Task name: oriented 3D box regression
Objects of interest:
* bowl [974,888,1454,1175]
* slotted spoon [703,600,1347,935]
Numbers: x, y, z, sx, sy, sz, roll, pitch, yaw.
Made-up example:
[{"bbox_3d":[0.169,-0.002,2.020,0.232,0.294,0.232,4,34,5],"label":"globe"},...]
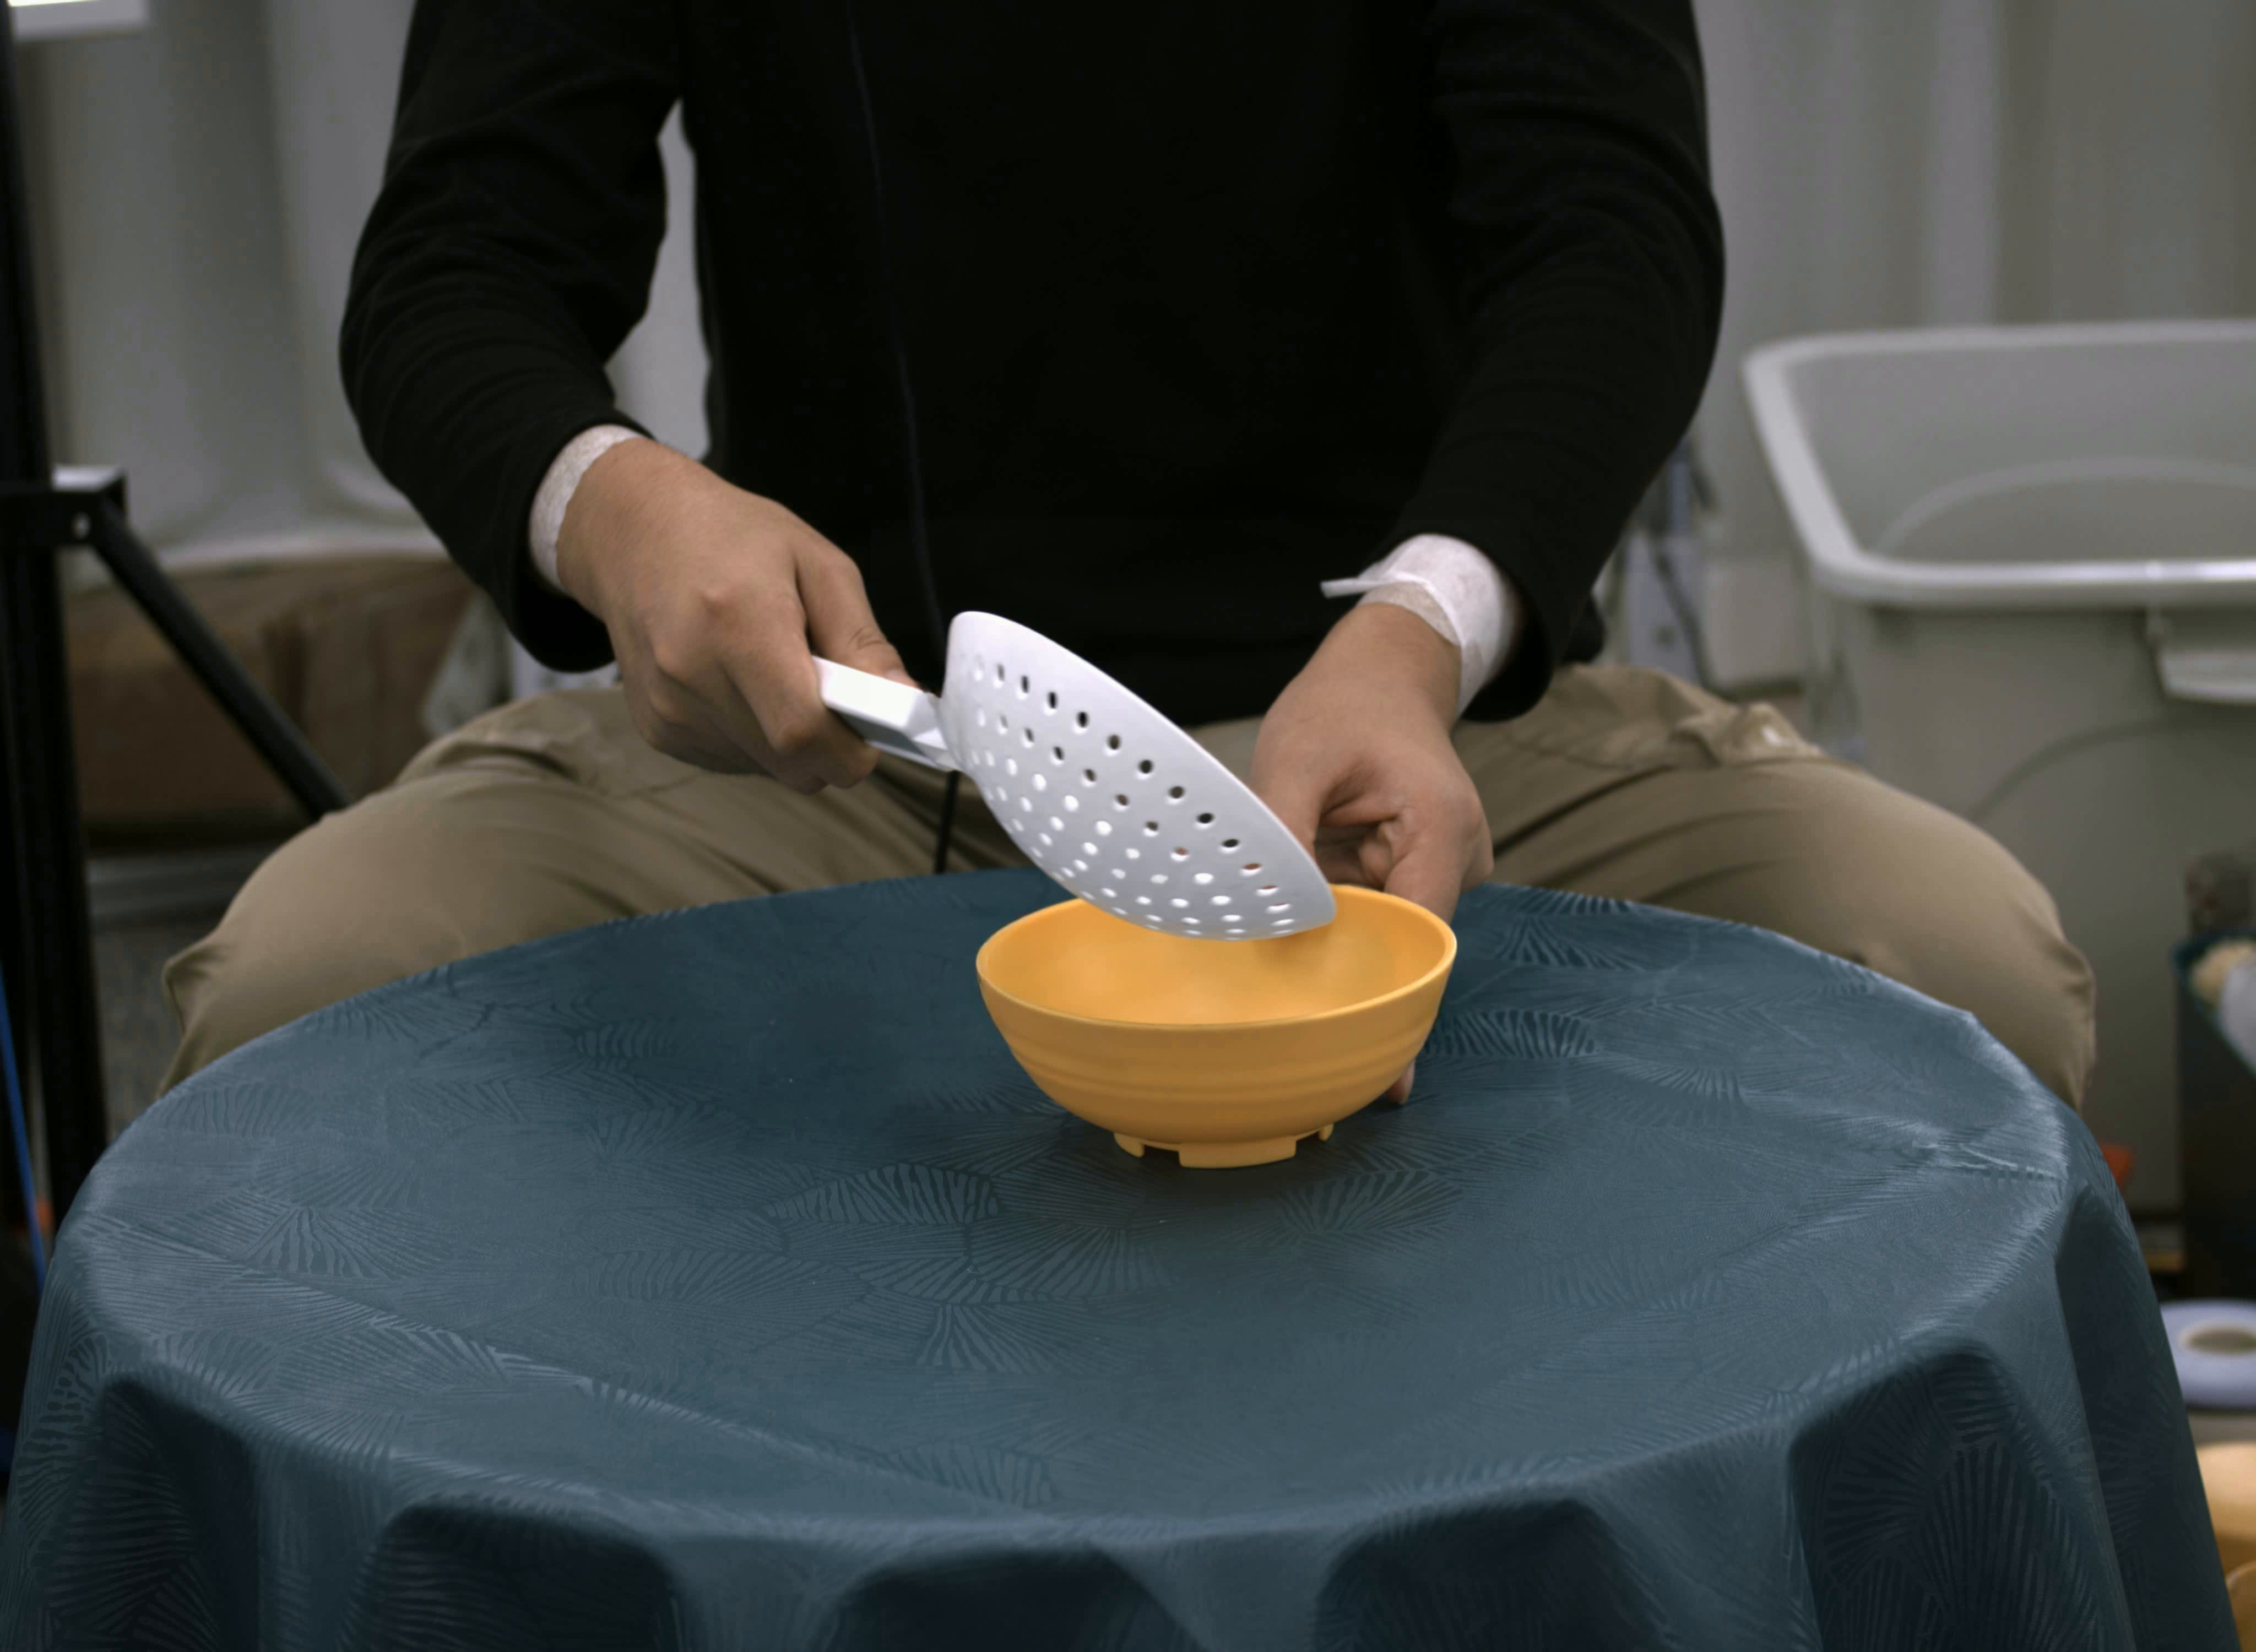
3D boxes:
[{"bbox_3d":[0.026,0.066,1.598,0.144,0.060,0.146,-1,17,-1],"label":"bowl"},{"bbox_3d":[-0.048,-0.028,1.595,0.045,0.133,0.356,-49,26,-8],"label":"slotted spoon"}]
